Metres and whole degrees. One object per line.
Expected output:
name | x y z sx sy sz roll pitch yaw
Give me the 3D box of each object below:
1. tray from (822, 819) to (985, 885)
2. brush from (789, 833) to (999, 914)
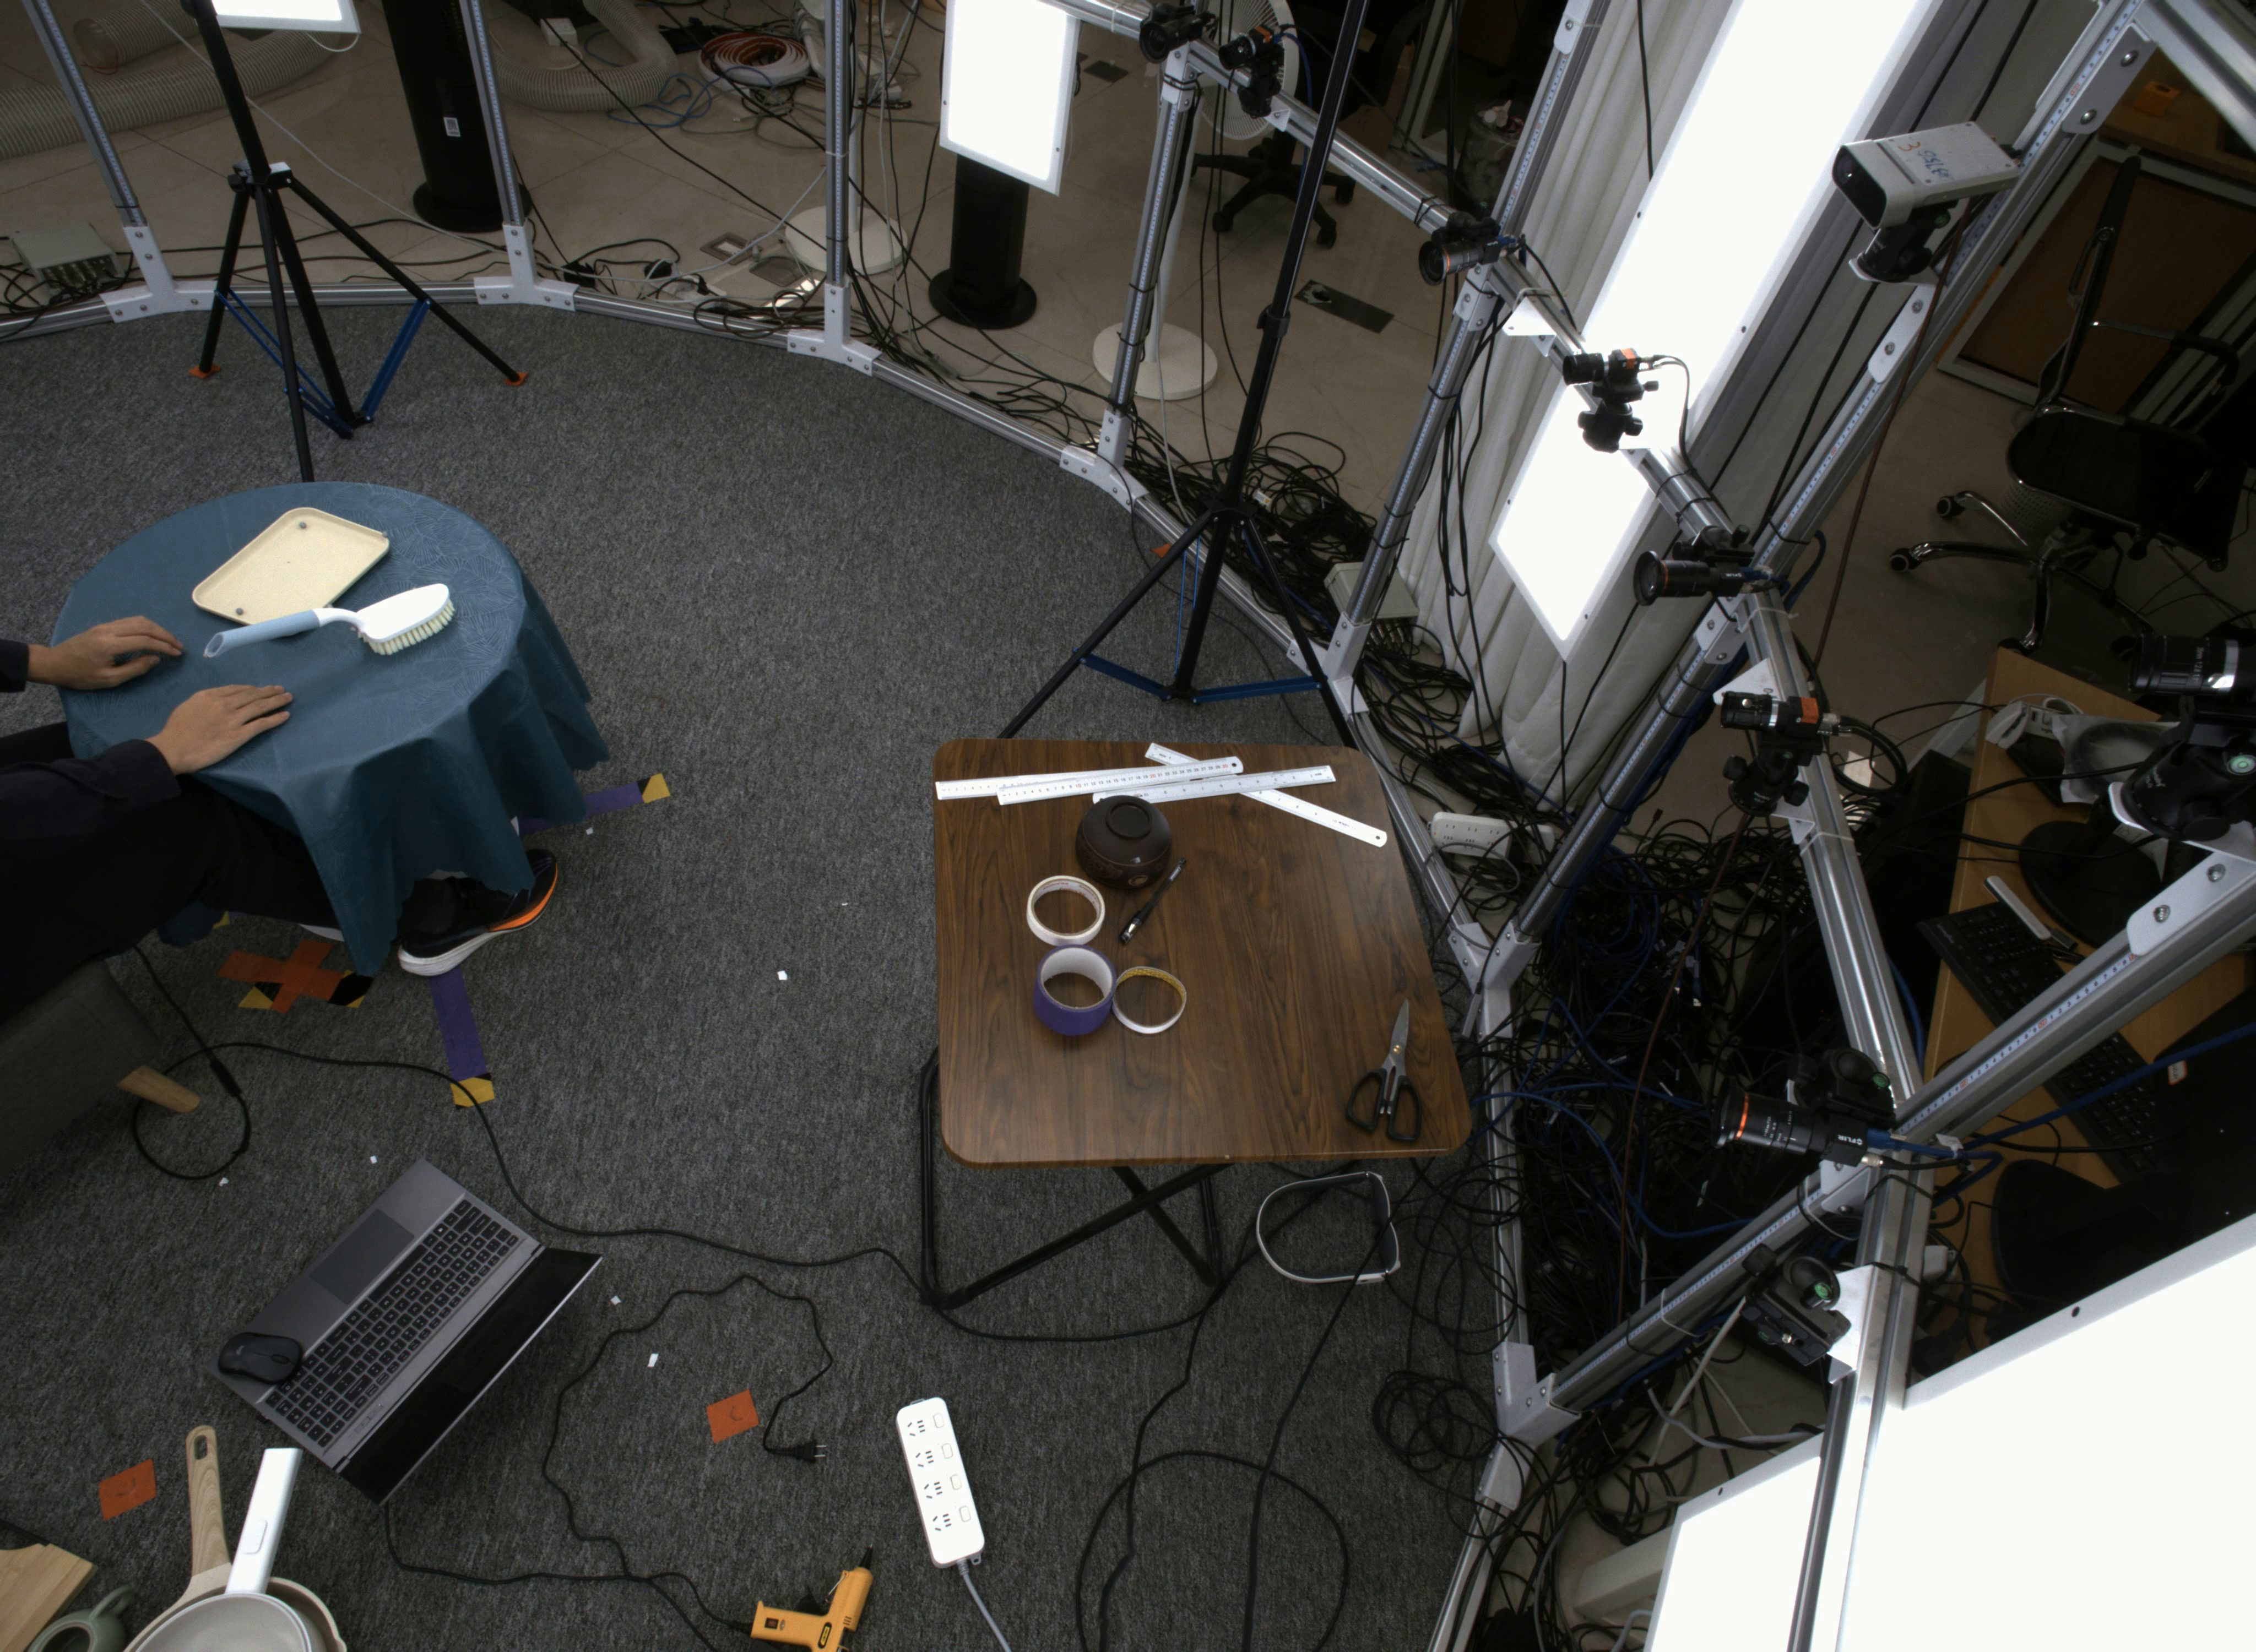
tray | -0.368 0.040 2.136 0.243 0.018 0.164 -13 30 -40
brush | -0.352 0.082 1.957 0.329 0.084 0.082 11 -16 -22
